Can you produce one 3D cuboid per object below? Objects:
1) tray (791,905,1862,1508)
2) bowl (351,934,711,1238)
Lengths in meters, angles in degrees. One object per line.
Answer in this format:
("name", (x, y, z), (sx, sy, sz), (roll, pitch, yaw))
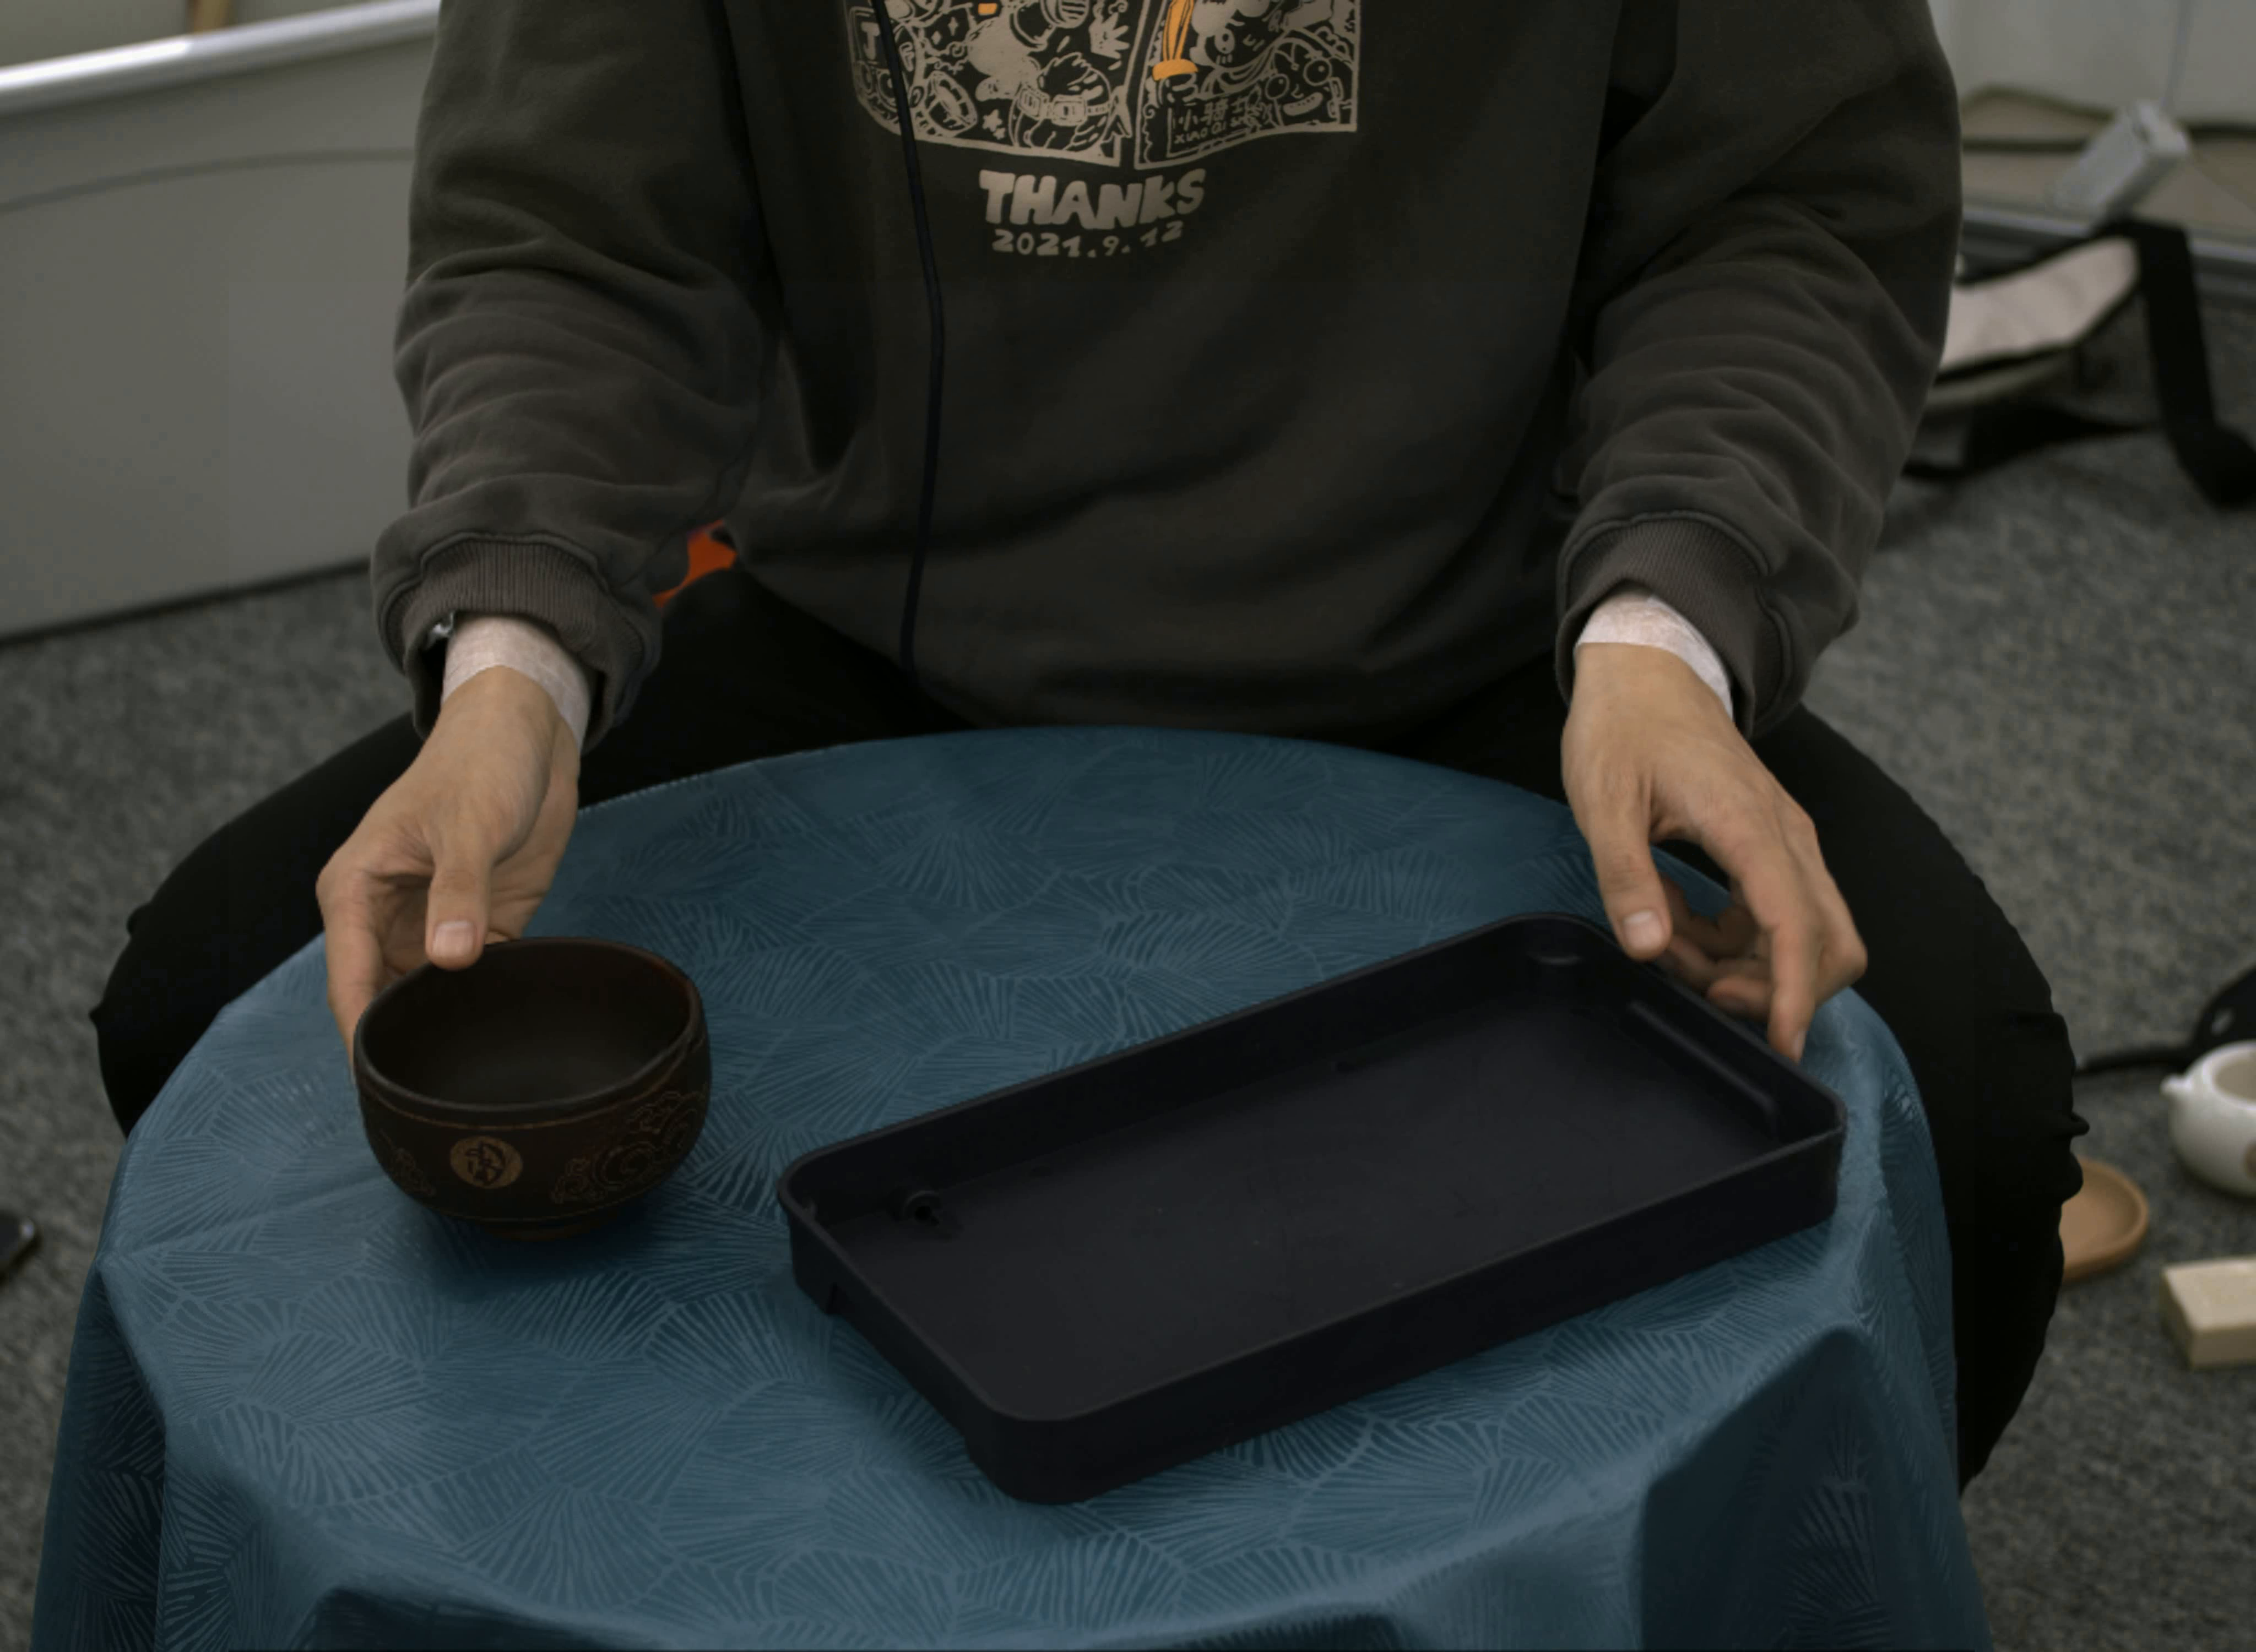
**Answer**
("tray", (0.065, 0.118, 1.825), (0.320, 0.036, 0.185), (-19, 31, -27))
("bowl", (-0.195, 0.093, 1.858), (0.117, 0.069, 0.120), (-3, 26, 2))
